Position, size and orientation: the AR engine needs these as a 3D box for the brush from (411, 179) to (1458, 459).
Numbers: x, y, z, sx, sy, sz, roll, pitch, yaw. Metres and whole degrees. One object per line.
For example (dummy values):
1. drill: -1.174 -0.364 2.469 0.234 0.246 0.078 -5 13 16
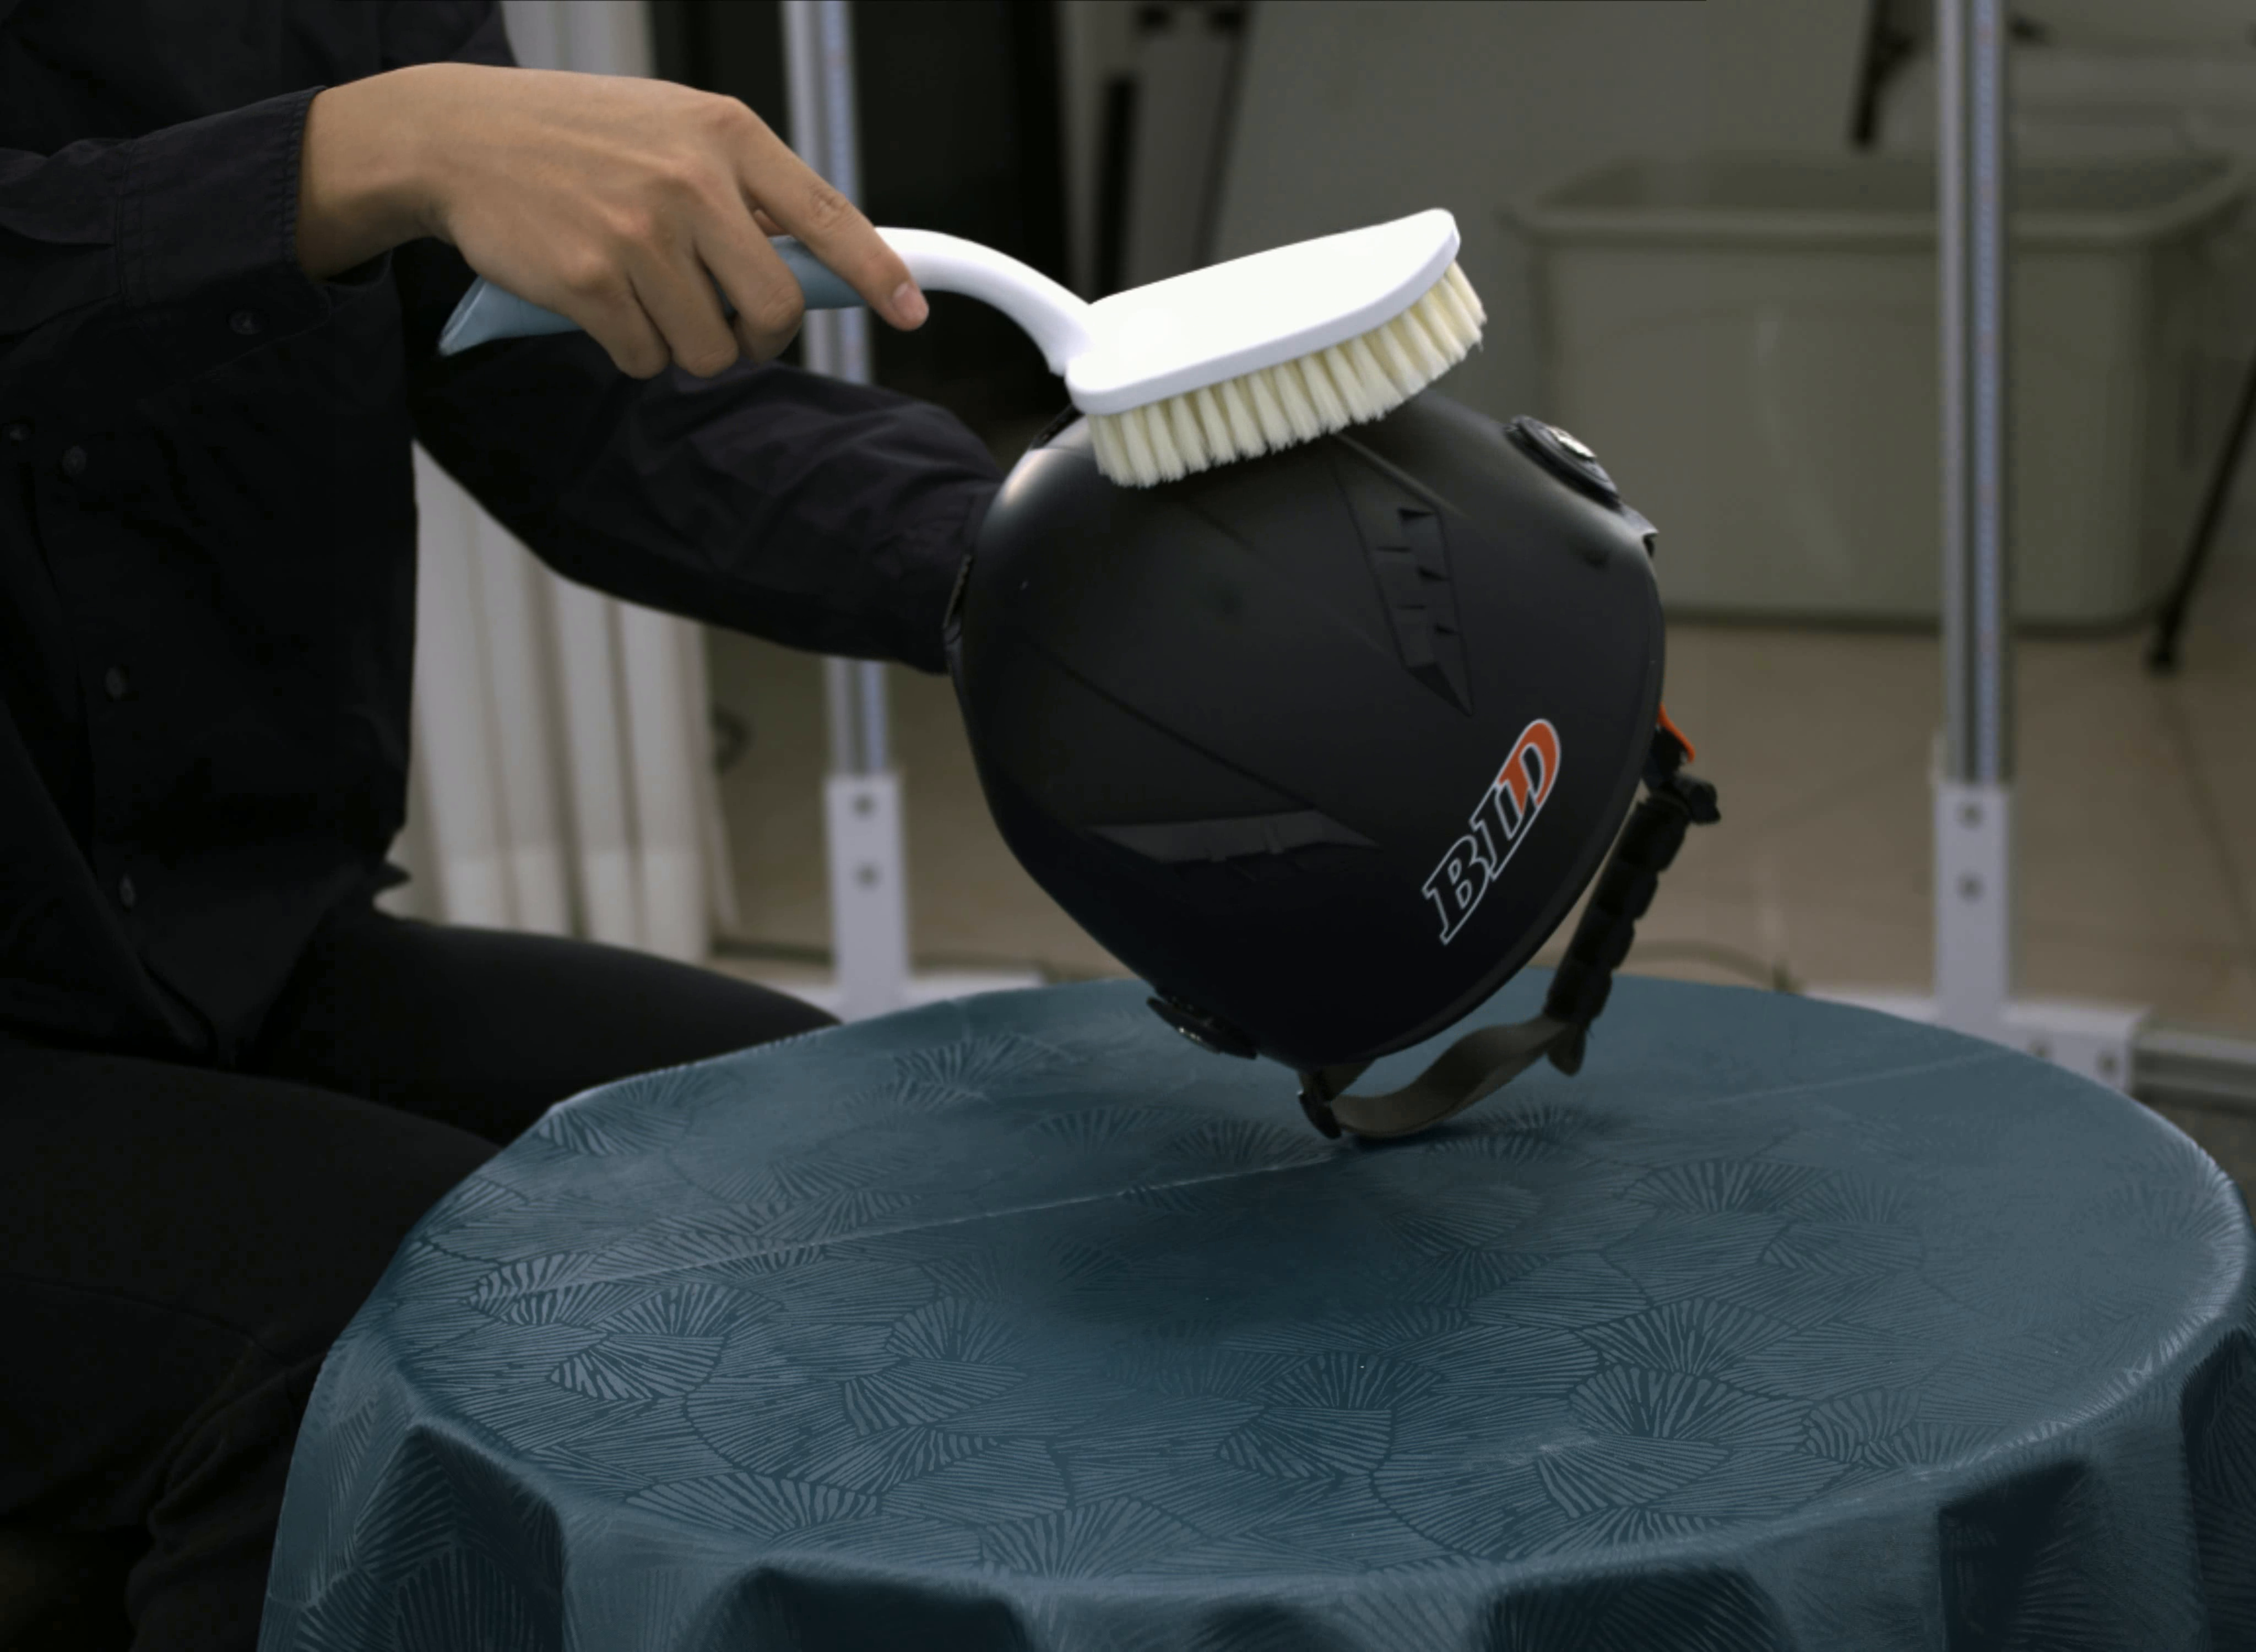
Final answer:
1. brush: -0.058 -0.148 1.672 0.322 0.086 0.083 -5 -9 3

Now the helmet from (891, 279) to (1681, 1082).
1. helmet: 0.038 -0.058 1.718 0.169 0.248 0.279 28 6 -30
